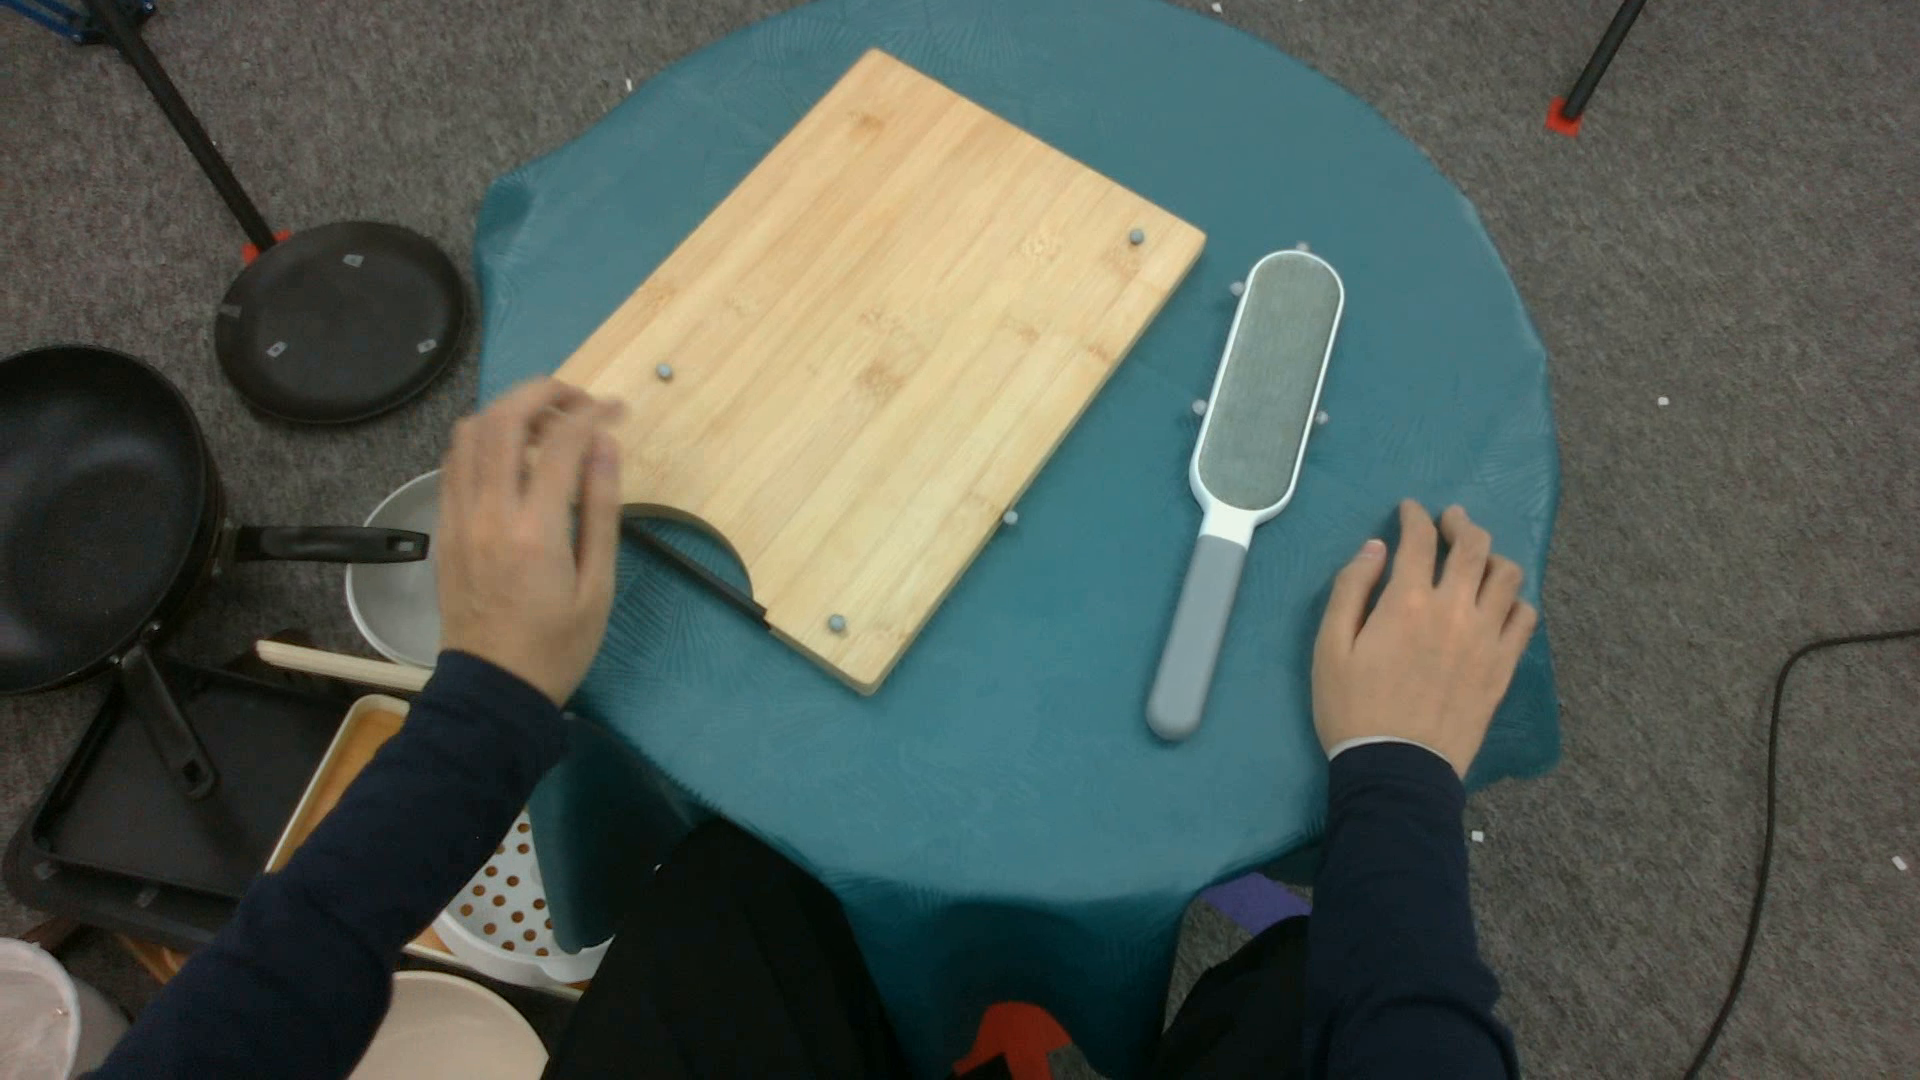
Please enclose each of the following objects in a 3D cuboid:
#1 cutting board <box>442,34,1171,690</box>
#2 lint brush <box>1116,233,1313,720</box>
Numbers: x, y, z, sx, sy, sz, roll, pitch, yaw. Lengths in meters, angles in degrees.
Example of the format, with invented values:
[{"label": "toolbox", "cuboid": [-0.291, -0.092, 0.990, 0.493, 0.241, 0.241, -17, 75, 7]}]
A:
[{"label": "cutting board", "cuboid": [-0.071, -0.117, 0.761, 0.251, 0.023, 0.350, 31, 66, 10]}, {"label": "lint brush", "cuboid": [0.134, -0.045, 0.739, 0.060, 0.021, 0.310, 21, 64, -1]}]
